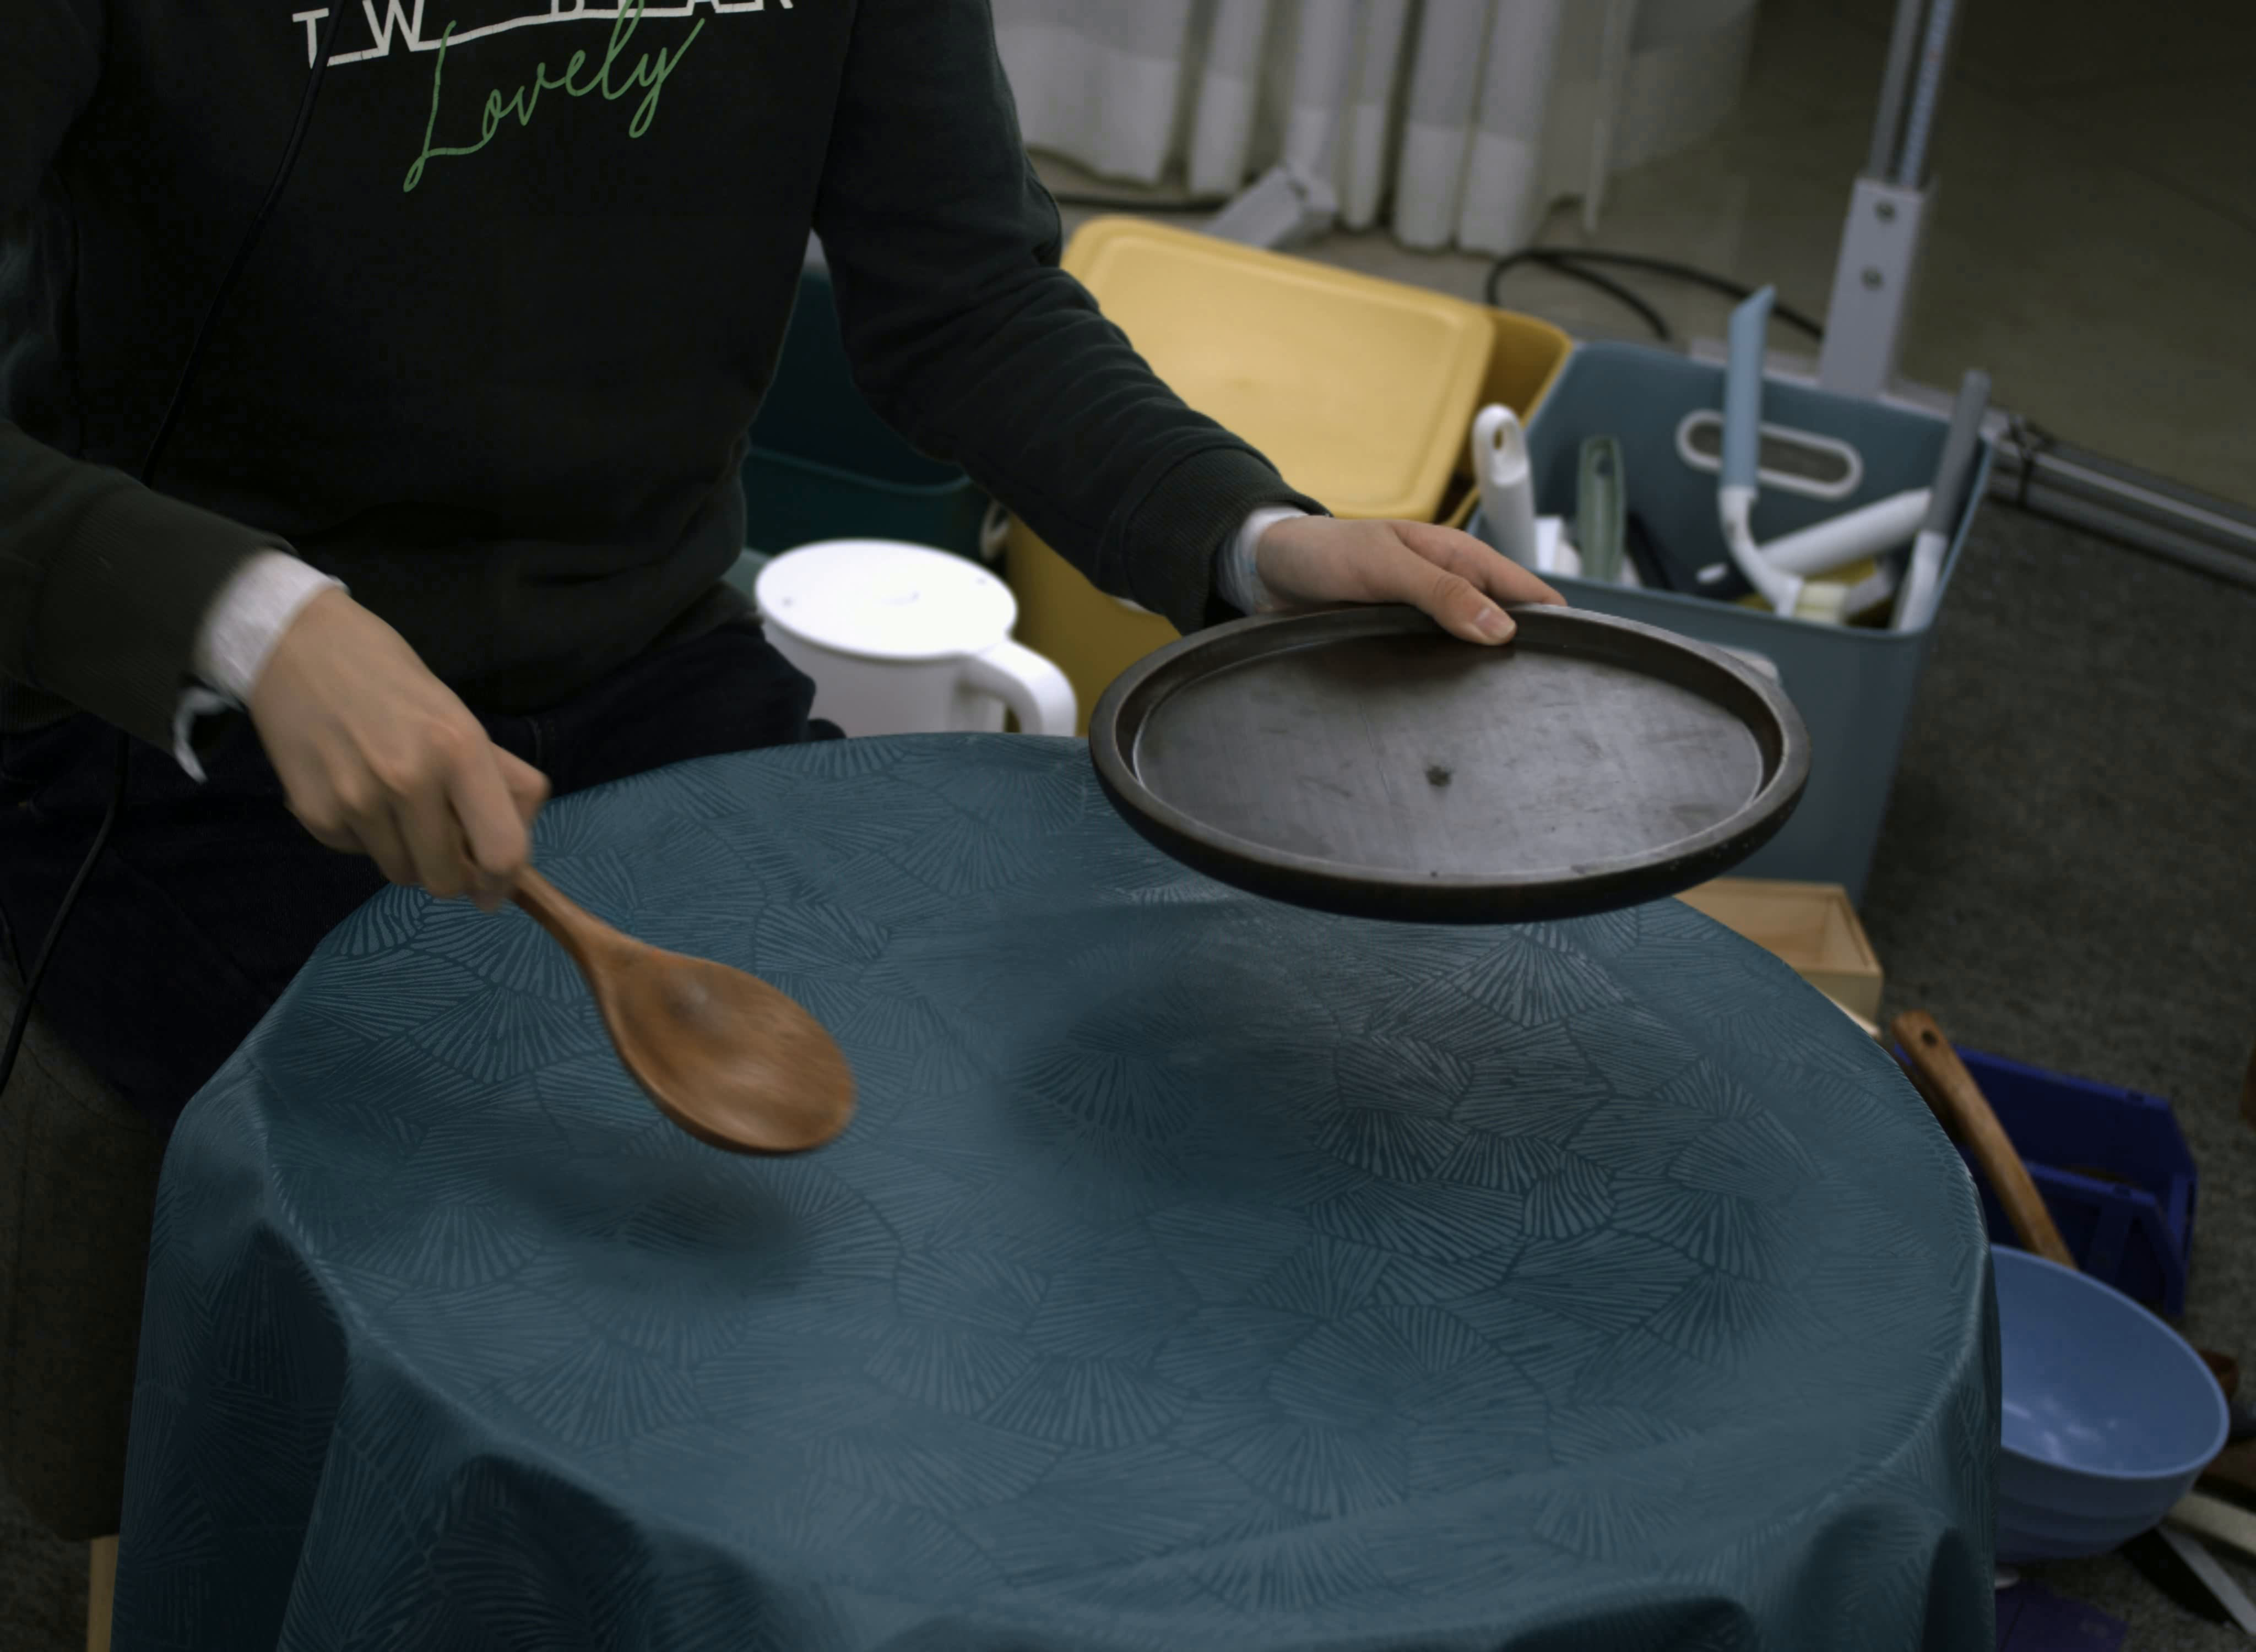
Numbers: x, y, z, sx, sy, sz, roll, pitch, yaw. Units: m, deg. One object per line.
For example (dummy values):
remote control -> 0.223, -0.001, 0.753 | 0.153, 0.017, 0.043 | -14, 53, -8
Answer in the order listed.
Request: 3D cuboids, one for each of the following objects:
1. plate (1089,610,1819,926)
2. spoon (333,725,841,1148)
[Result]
plate -> 0.113, -0.023, 1.853 | 0.254, 0.029, 0.256 | 0, 24, -1
spoon -> -0.184, 0.036, 1.766 | 0.217, 0.017, 0.075 | 40, 40, 16
